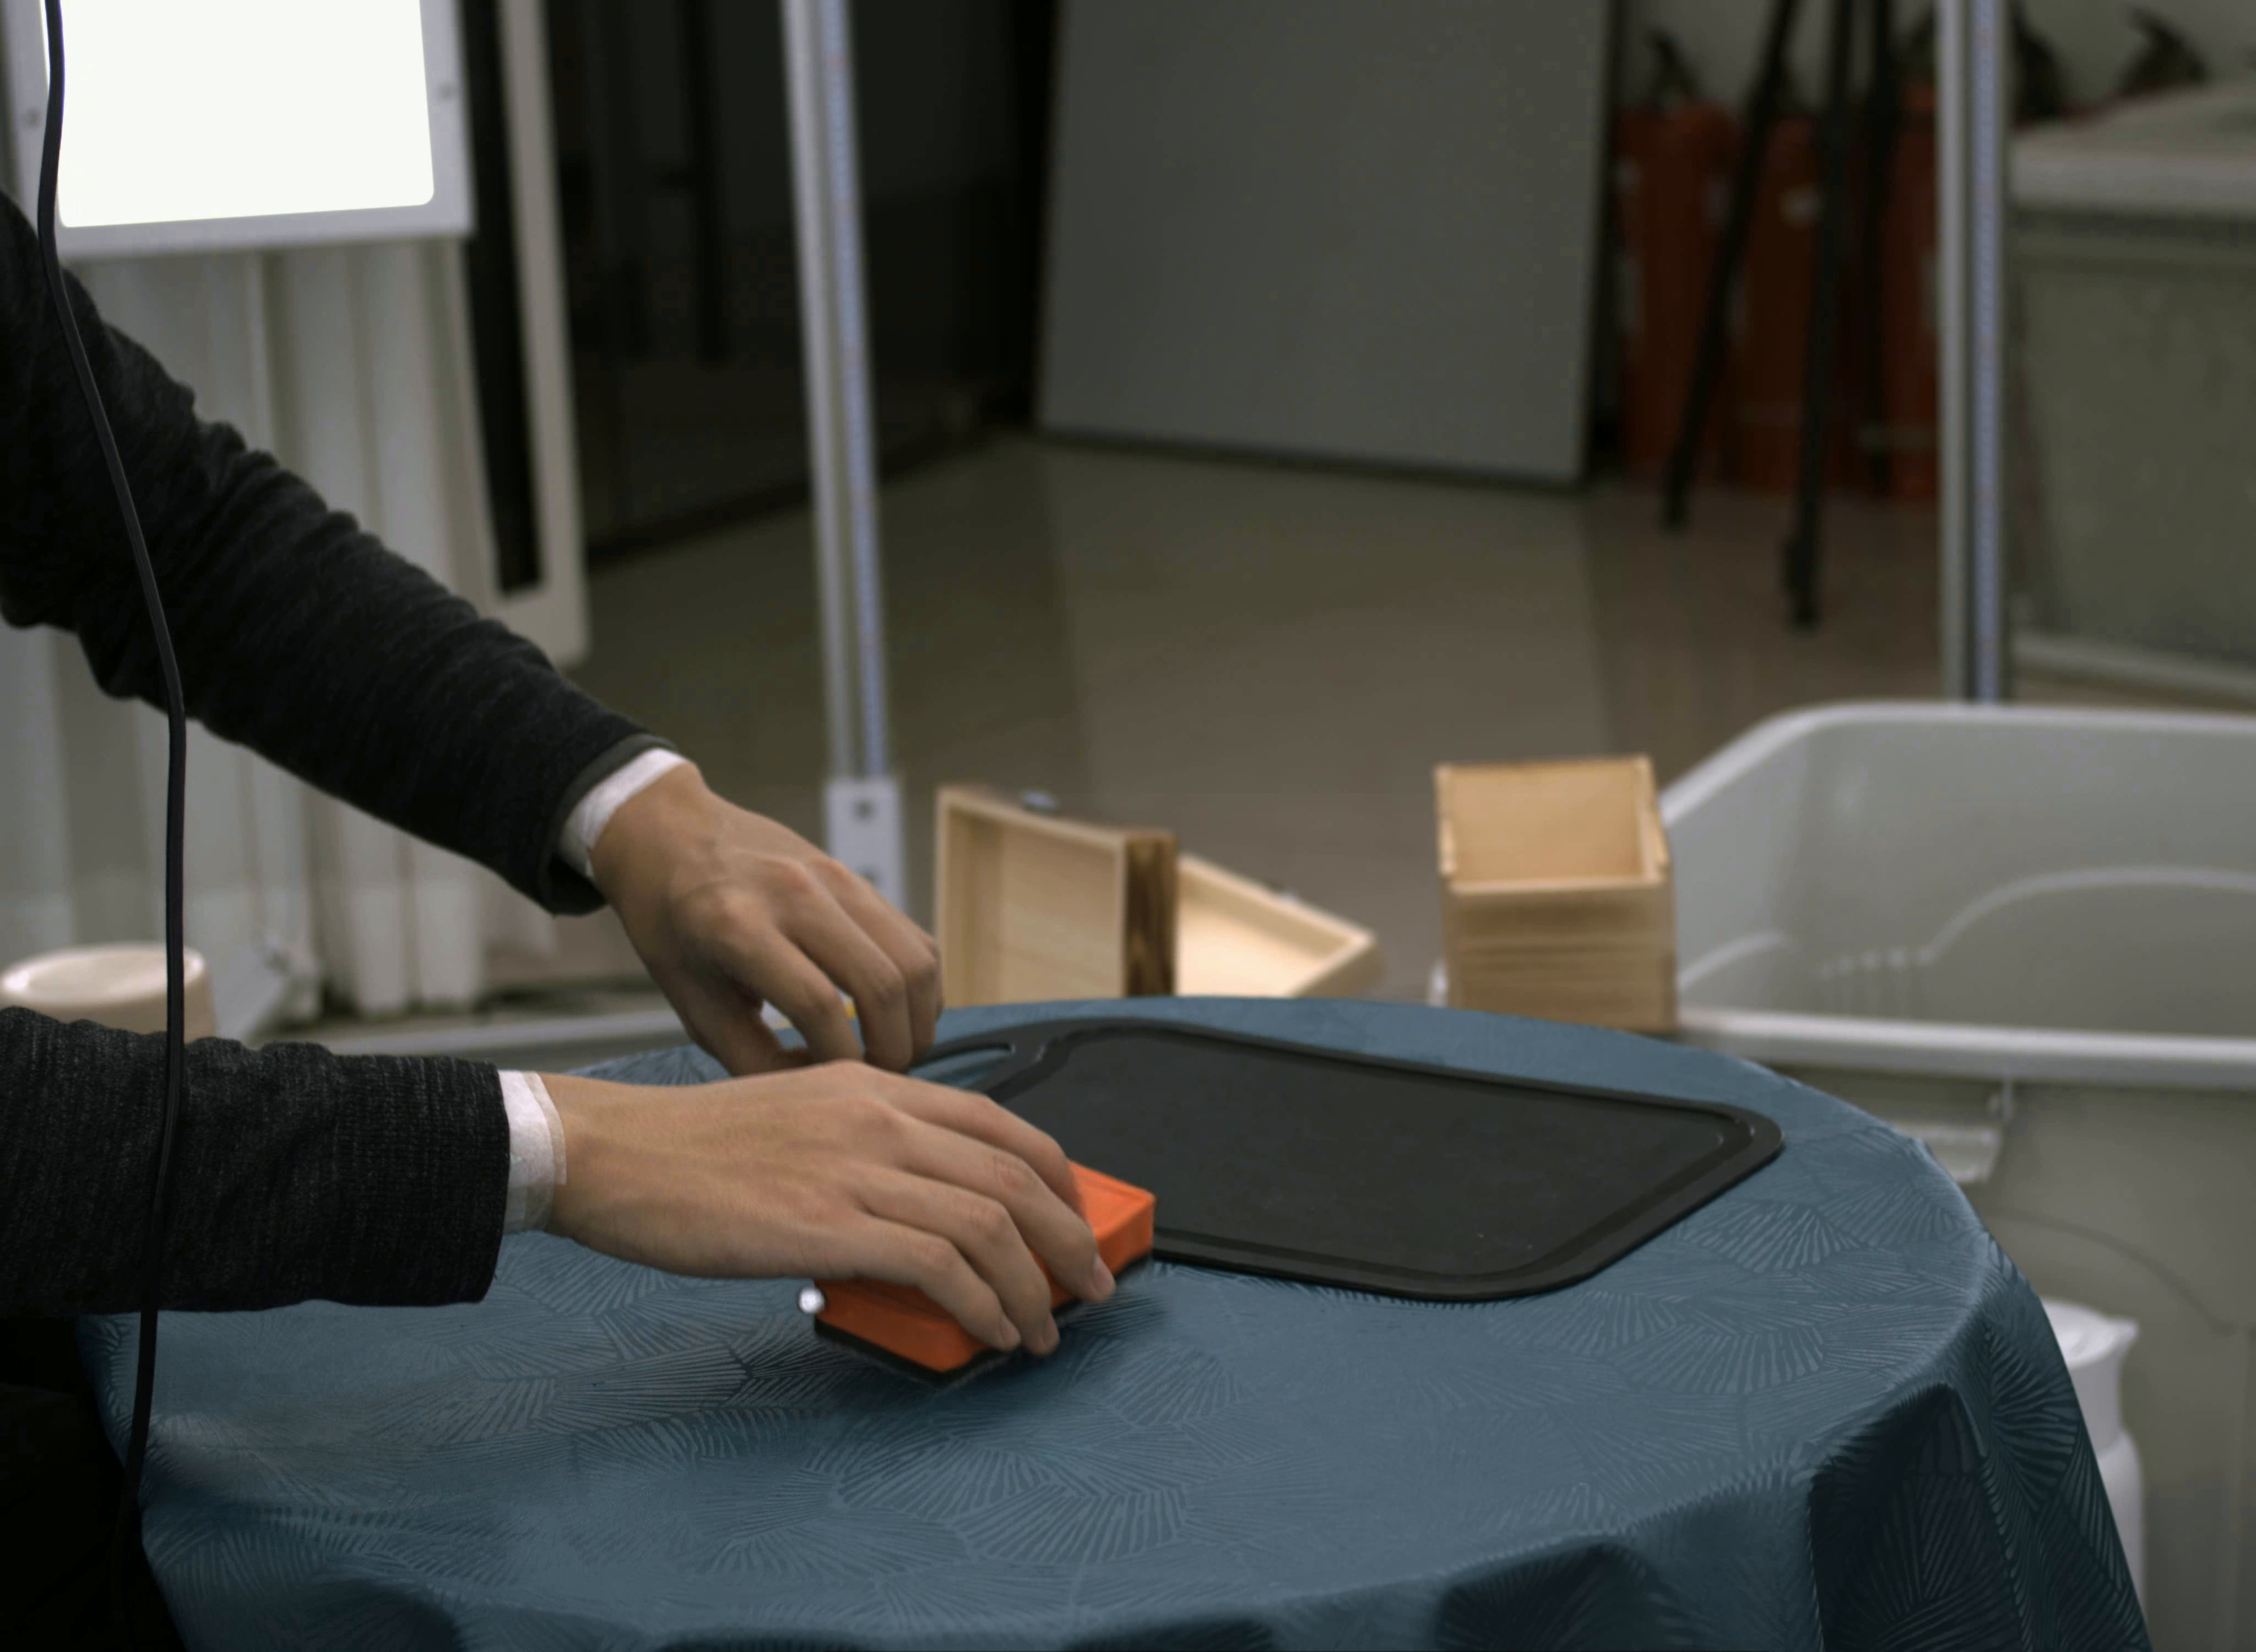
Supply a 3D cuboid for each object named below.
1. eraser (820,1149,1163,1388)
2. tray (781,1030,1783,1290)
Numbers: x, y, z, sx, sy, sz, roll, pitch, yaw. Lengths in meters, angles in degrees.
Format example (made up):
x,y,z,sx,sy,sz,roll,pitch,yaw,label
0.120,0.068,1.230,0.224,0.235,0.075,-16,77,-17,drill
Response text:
x,y,z,sx,sy,sz,roll,pitch,yaw,label
-0.041,0.133,1.635,0.059,0.023,0.106,13,29,38,eraser
0.043,0.107,1.796,0.327,0.010,0.207,6,17,35,tray
